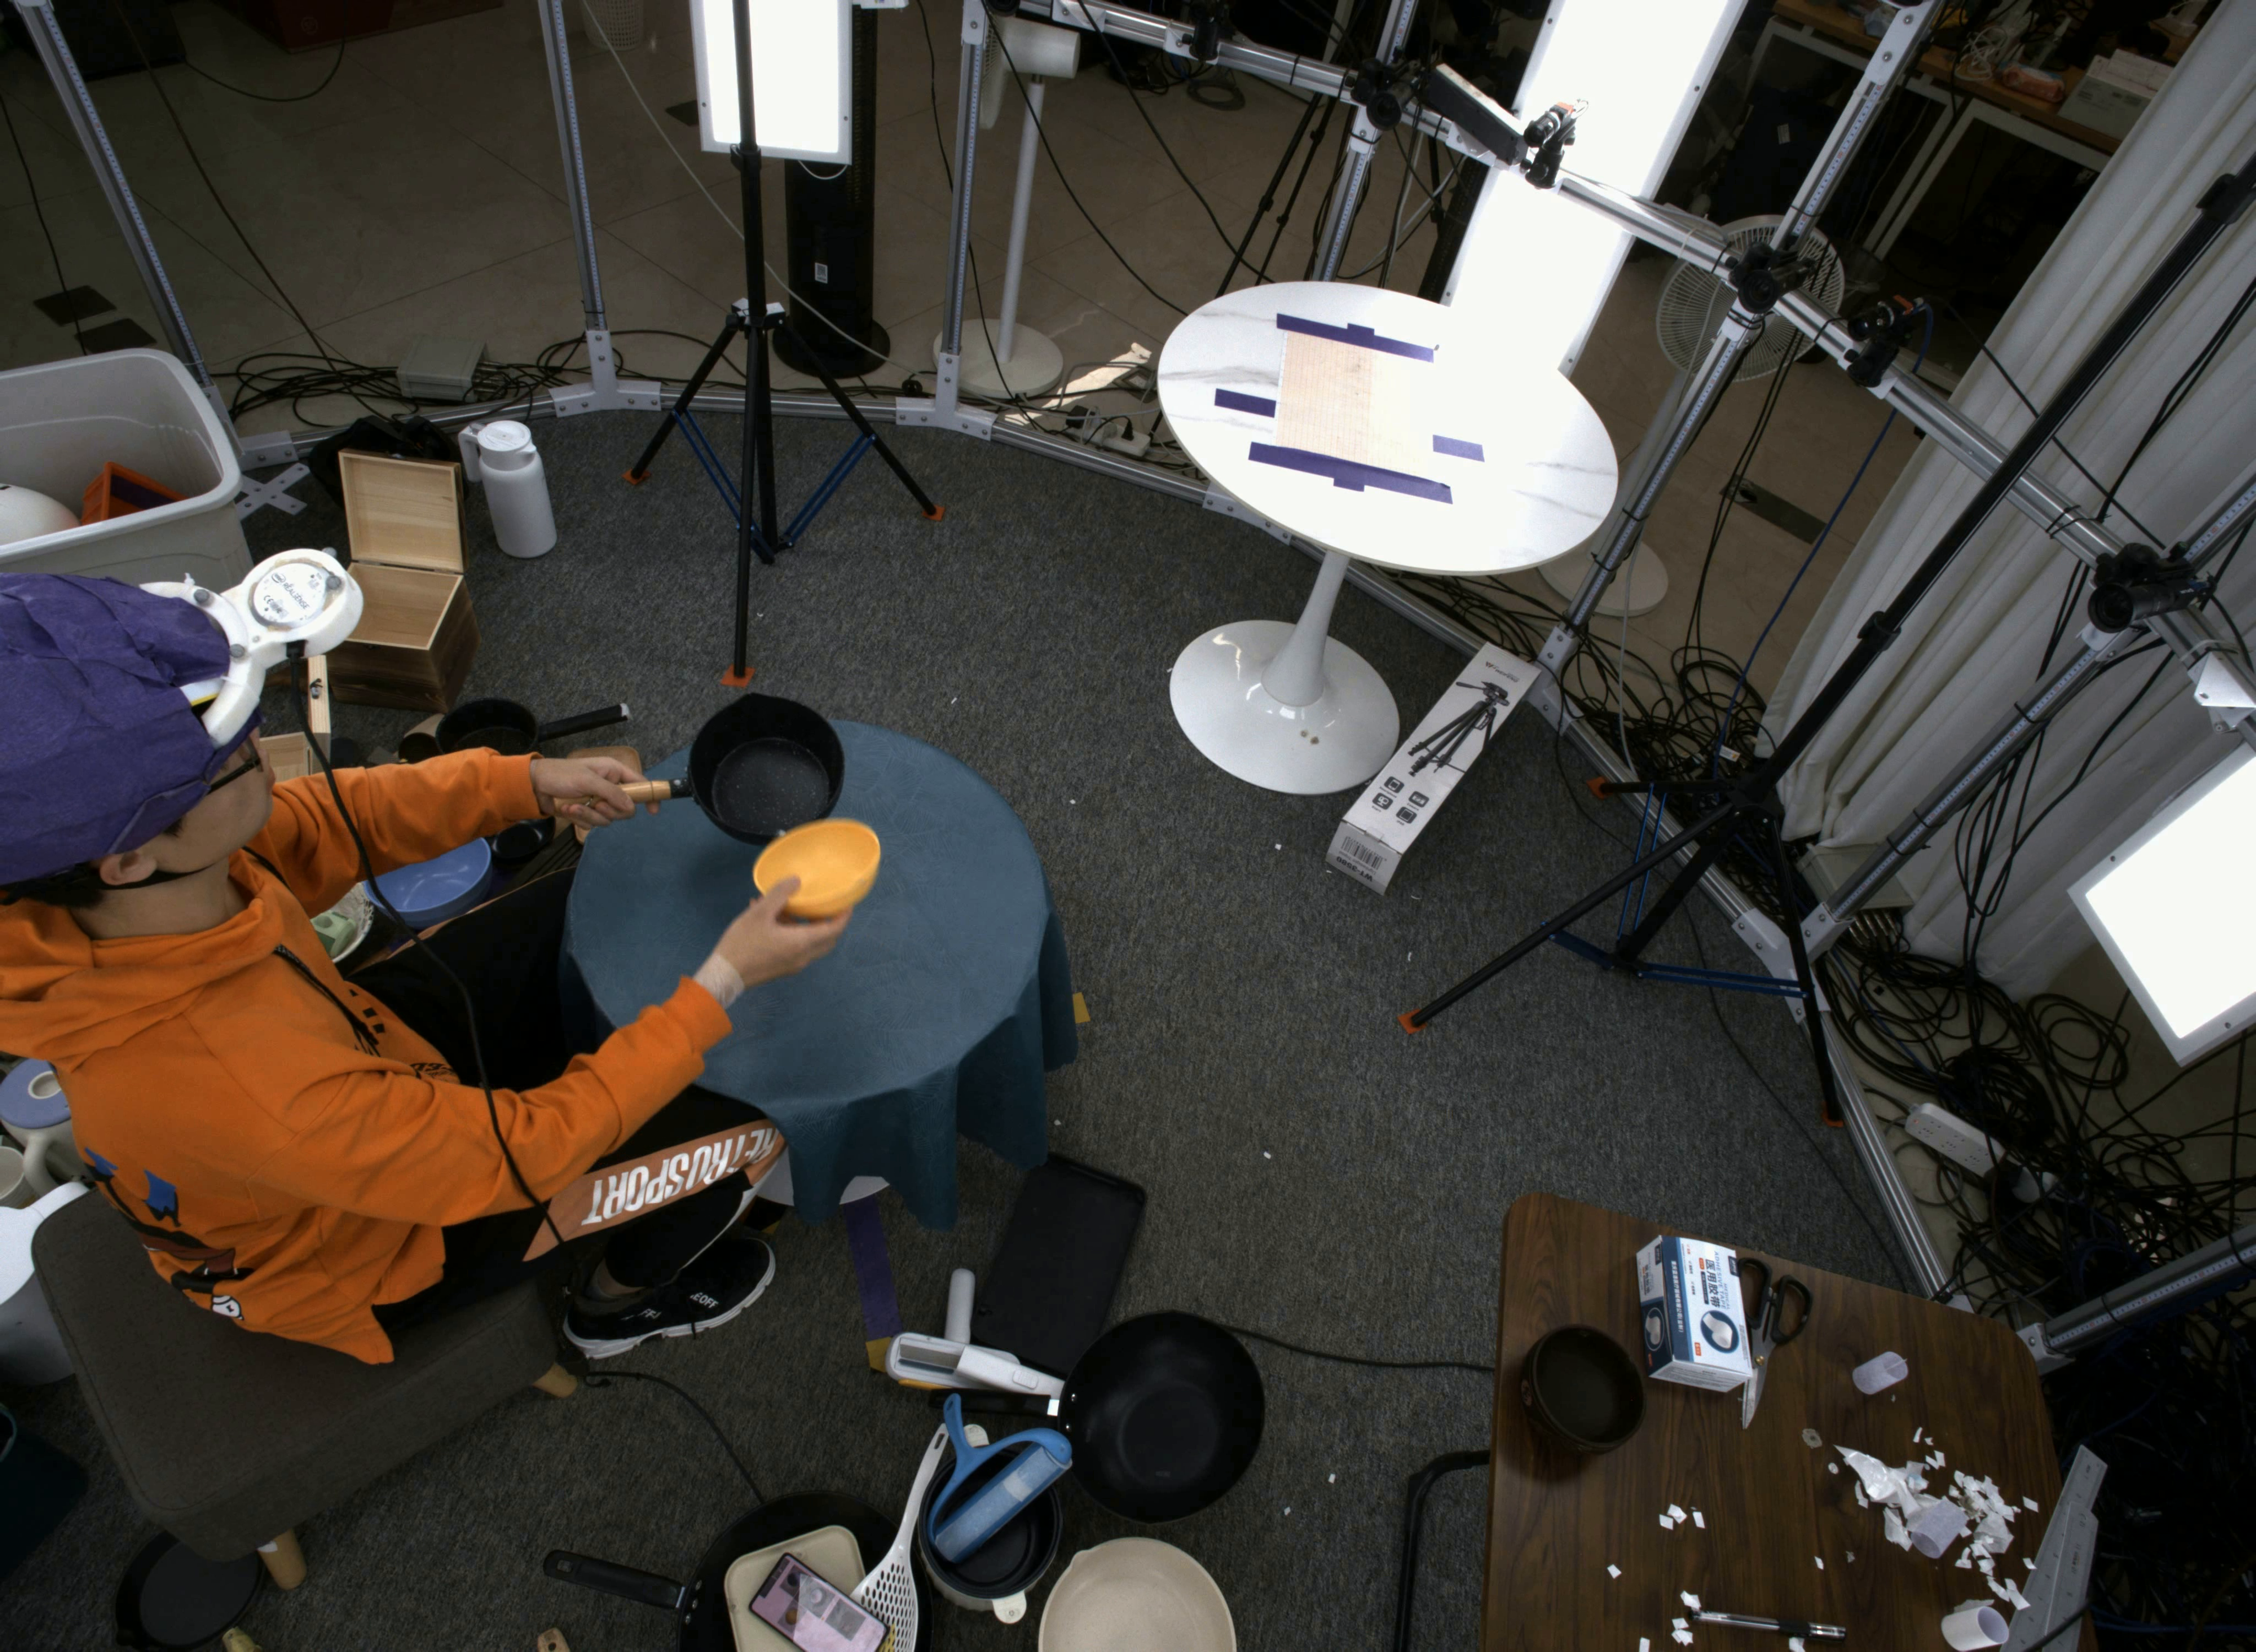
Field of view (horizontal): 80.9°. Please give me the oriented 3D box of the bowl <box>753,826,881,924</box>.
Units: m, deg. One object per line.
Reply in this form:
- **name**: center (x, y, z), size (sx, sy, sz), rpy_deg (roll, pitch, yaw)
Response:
- **bowl**: center (-0.340, 0.064, 1.450), size (0.143, 0.062, 0.142), rpy_deg (-4, 38, 5)

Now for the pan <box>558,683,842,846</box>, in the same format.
- **pan**: center (-0.513, -0.050, 1.542), size (0.344, 0.109, 0.206), rpy_deg (-14, 74, -20)
